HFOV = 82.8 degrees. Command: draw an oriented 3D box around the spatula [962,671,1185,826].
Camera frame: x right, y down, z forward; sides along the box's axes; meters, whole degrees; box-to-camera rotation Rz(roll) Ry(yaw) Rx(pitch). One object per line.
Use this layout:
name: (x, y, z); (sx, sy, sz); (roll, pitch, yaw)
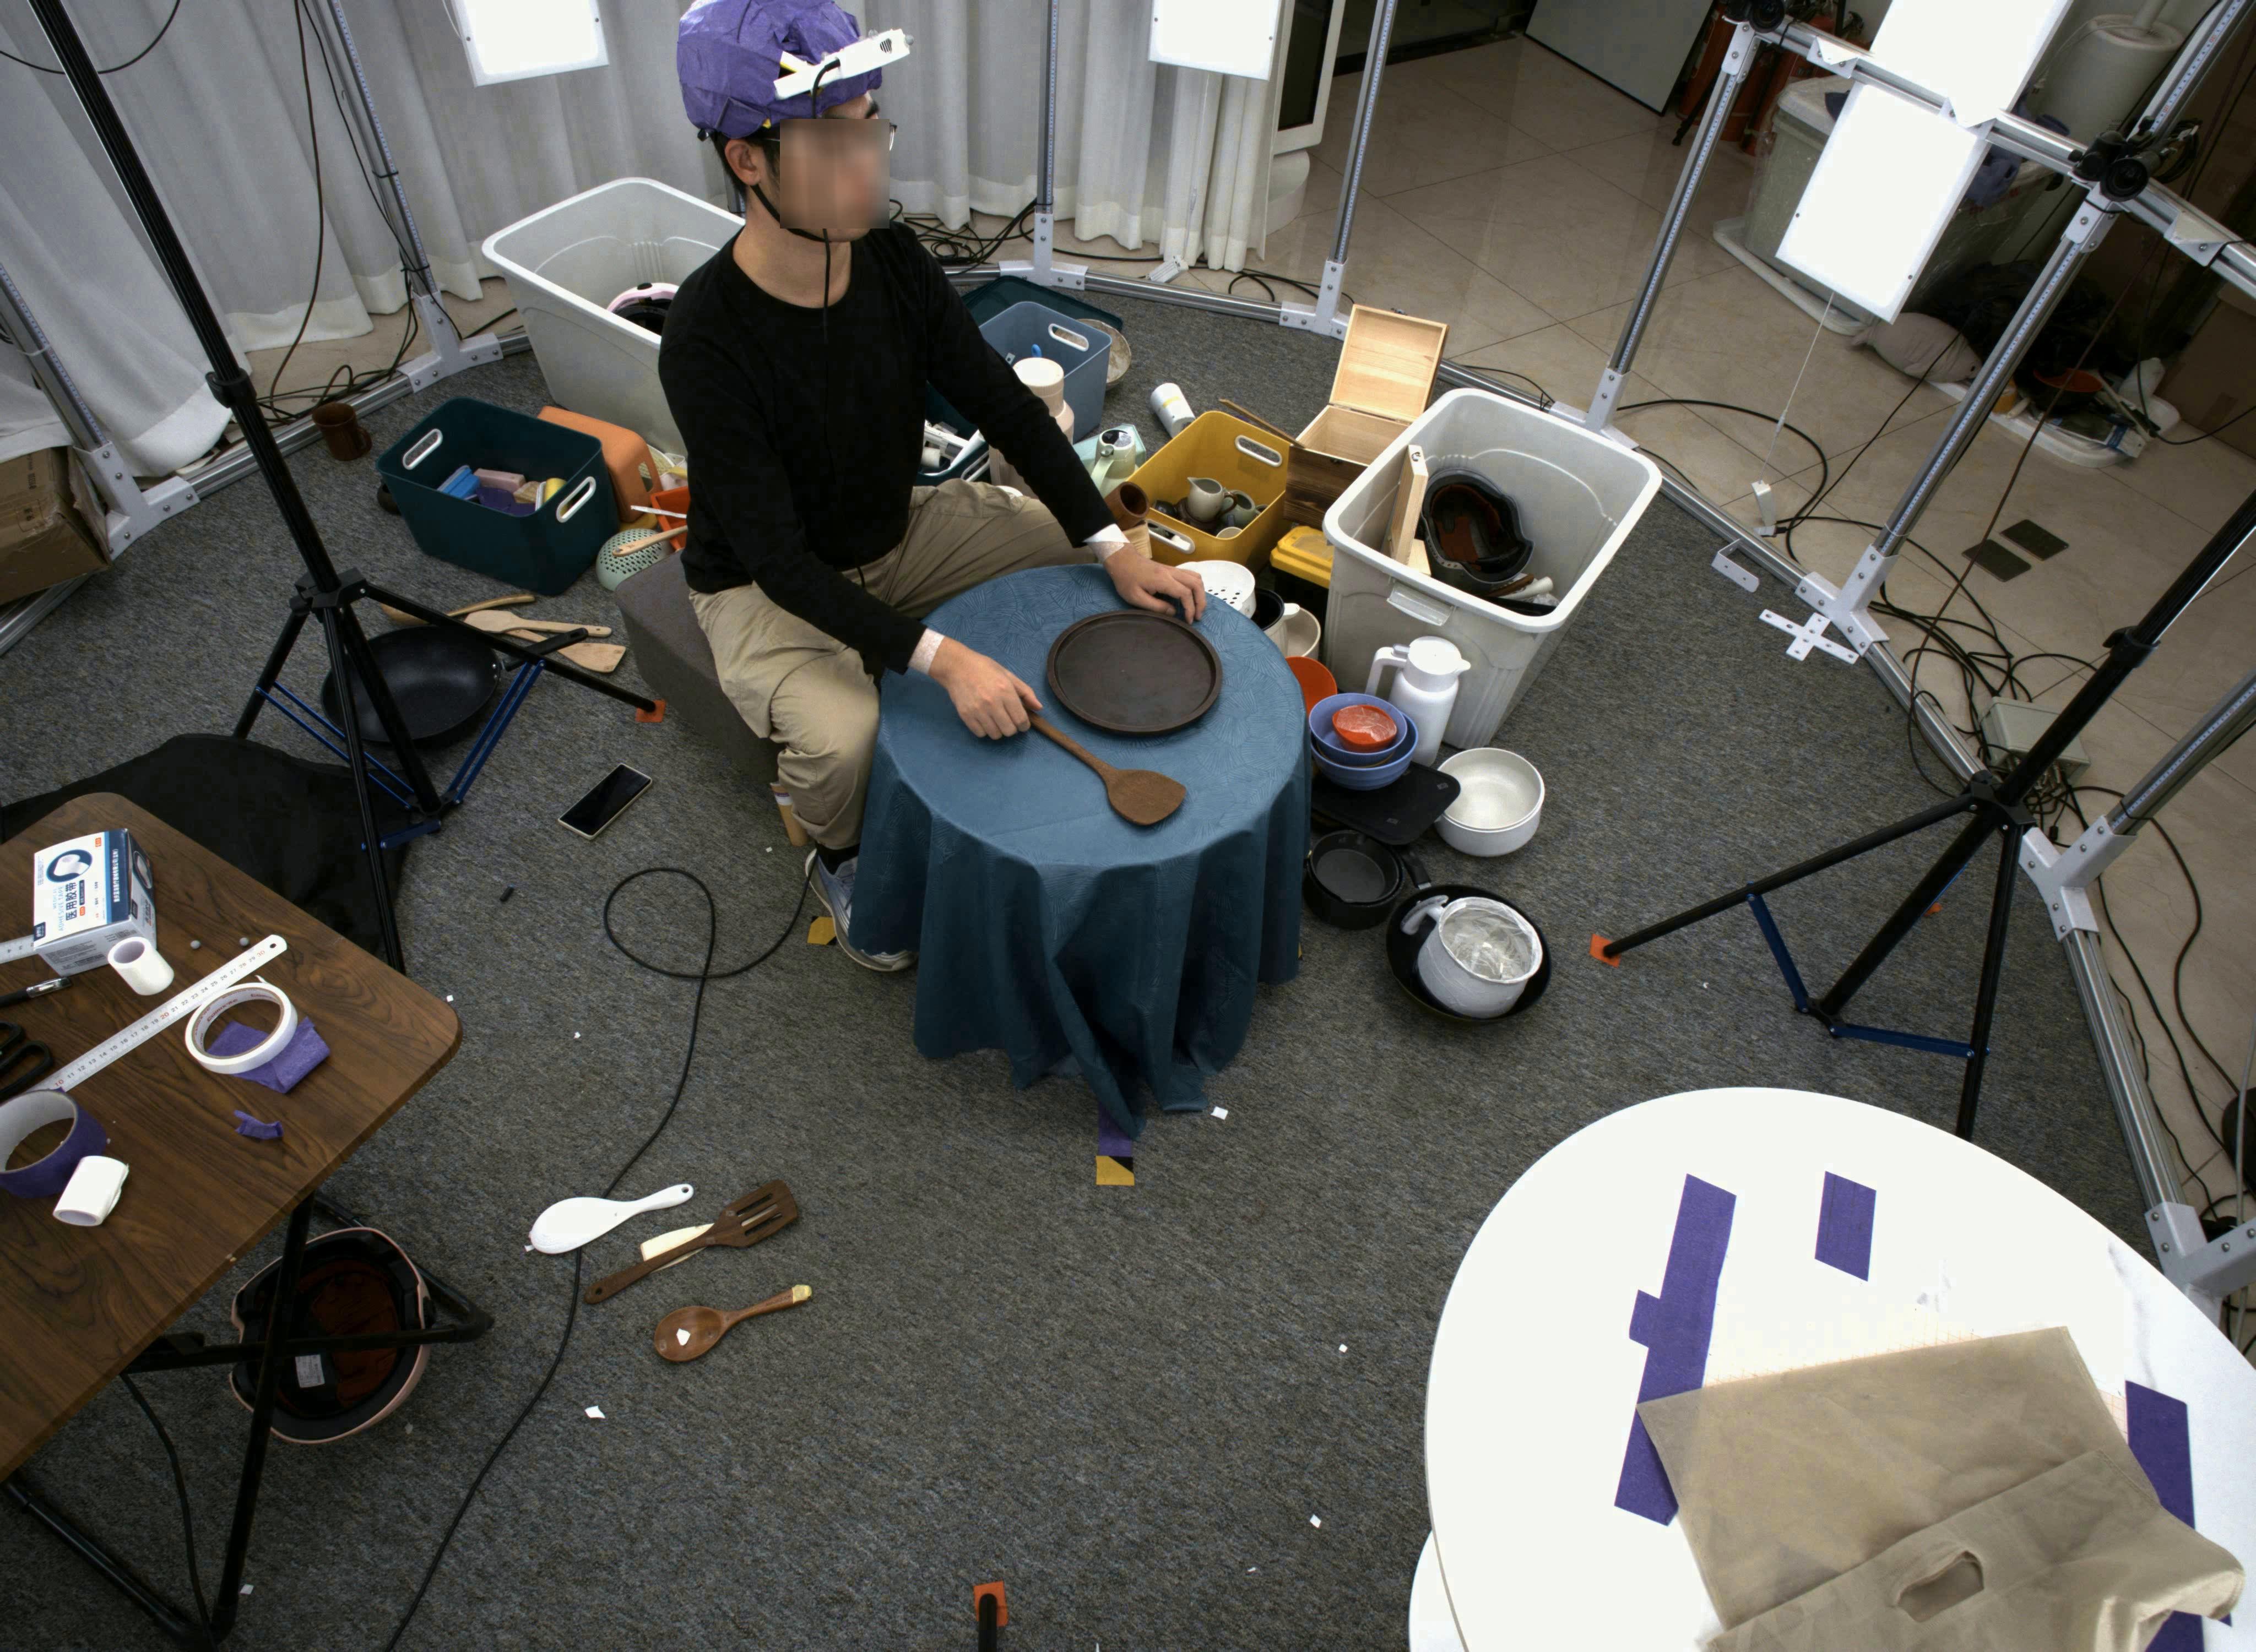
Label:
spatula: (-0.089, -0.118, 1.756); (0.391, 0.015, 0.097); (35, 55, 24)

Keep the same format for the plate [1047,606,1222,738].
plate: (0.009, -0.220, 1.846); (0.254, 0.028, 0.261); (1, 50, -2)
